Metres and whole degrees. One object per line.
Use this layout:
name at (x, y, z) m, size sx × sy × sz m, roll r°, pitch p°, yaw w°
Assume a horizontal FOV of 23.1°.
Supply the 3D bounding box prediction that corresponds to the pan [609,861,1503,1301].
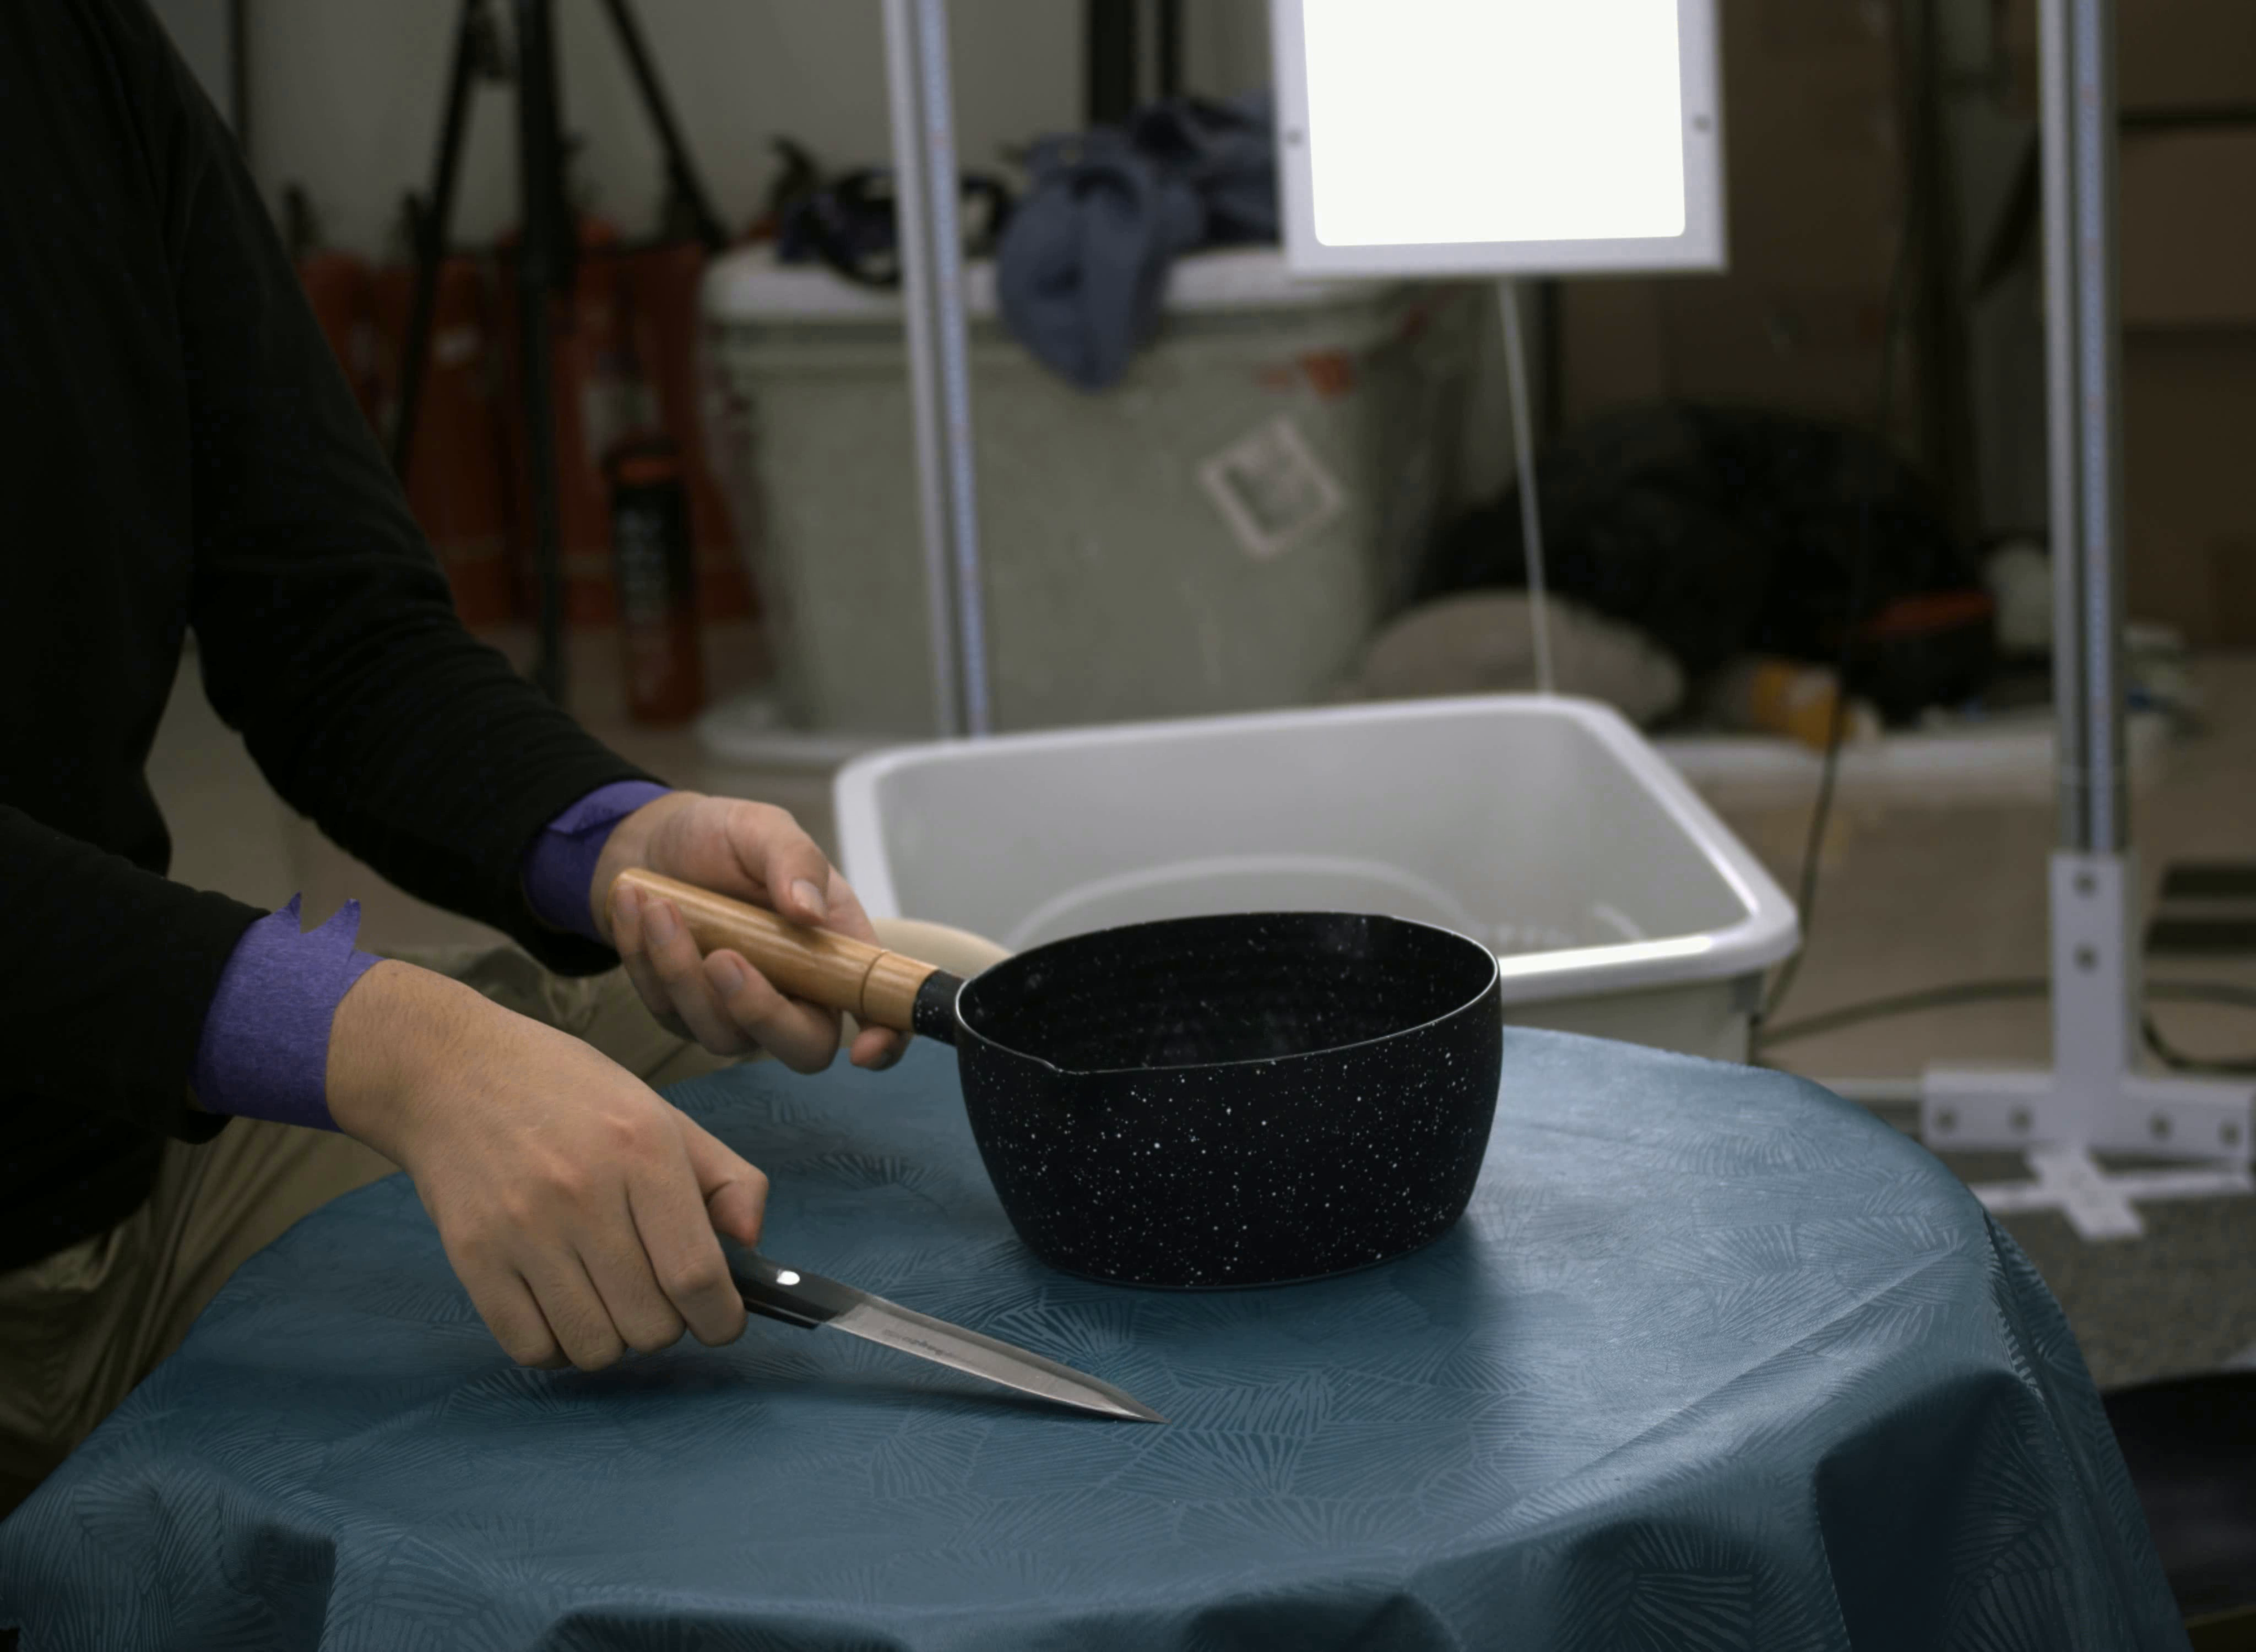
pan at (-0.034, 0.079, 1.885) m, size 0.349 × 0.108 × 0.203 m, roll 5°, pitch 17°, yaw 31°

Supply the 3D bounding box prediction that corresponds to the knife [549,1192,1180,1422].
knife at (-0.087, 0.154, 1.731) m, size 0.242 × 0.016 × 0.024 m, roll 15°, pitch 34°, yaw 29°
